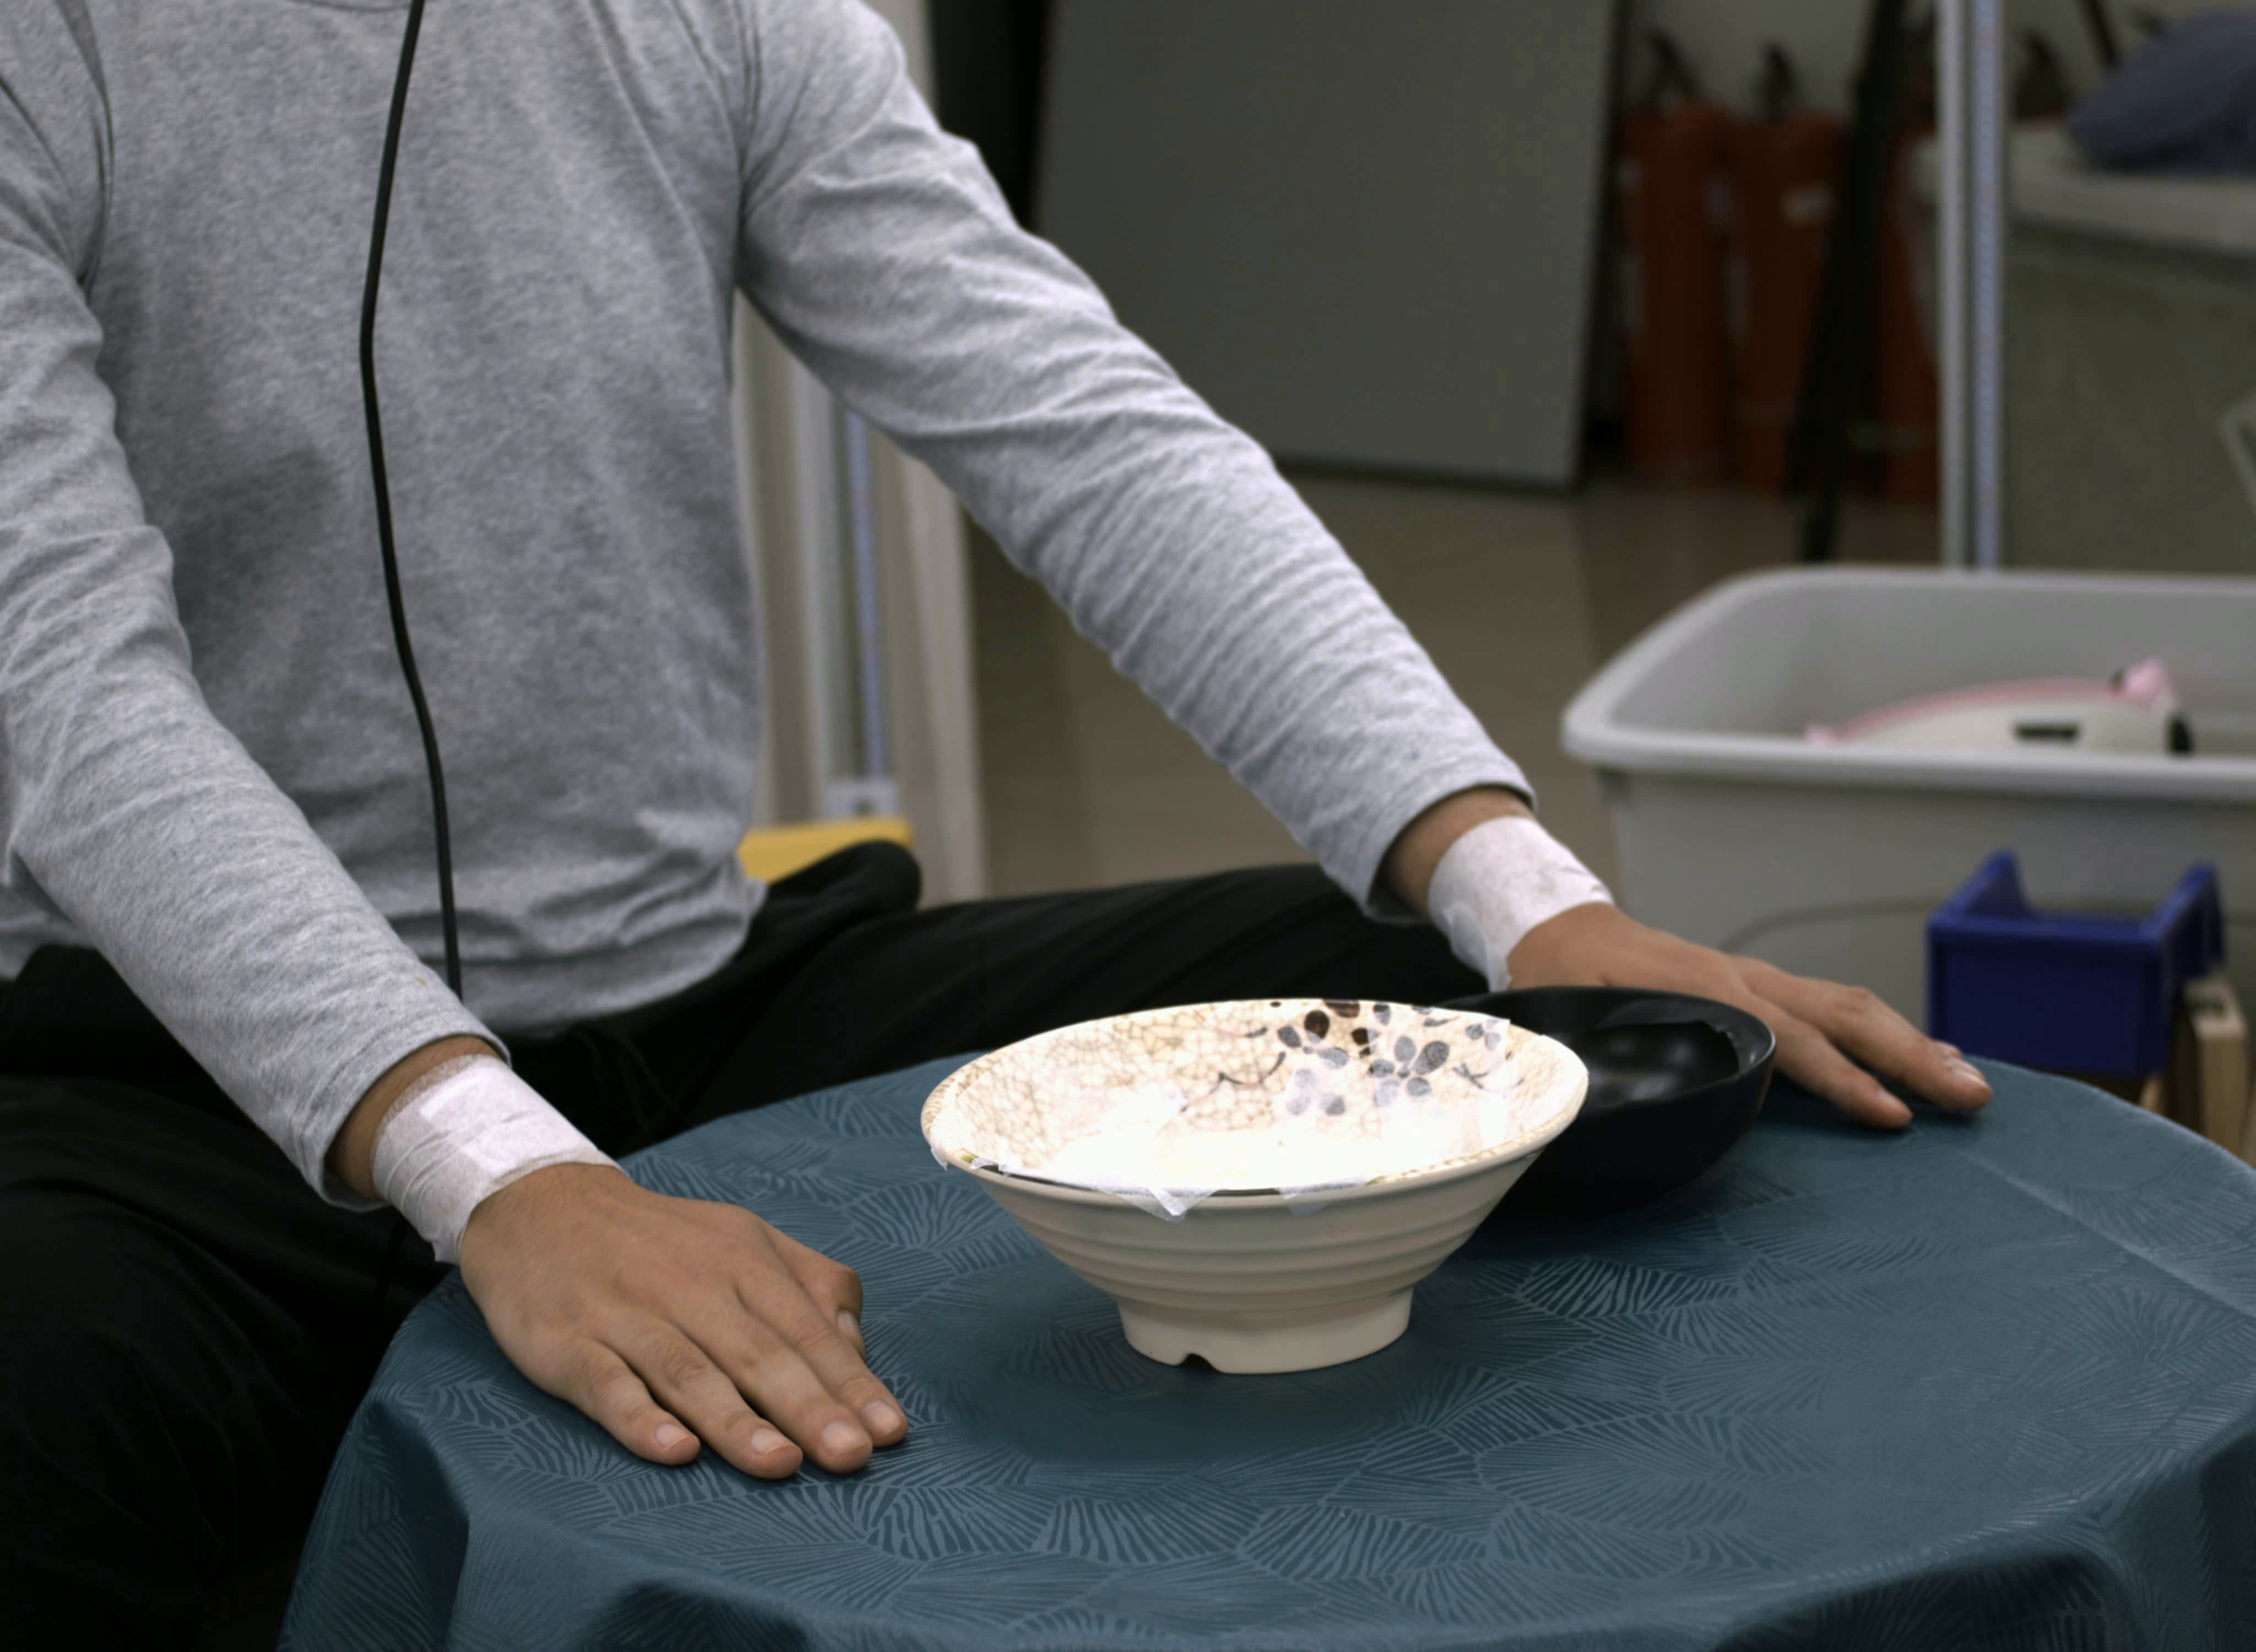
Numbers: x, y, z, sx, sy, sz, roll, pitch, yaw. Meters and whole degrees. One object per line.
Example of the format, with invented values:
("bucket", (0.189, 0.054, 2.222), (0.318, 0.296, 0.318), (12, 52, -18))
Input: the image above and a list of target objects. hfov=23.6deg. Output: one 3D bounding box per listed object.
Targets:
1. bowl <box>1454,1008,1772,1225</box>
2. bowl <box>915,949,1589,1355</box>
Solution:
("bowl", (0.141, 0.097, 1.742), (0.138, 0.050, 0.140), (-6, 8, 0))
("bowl", (0.035, 0.105, 1.615), (0.201, 0.079, 0.204), (2, 17, -1))
